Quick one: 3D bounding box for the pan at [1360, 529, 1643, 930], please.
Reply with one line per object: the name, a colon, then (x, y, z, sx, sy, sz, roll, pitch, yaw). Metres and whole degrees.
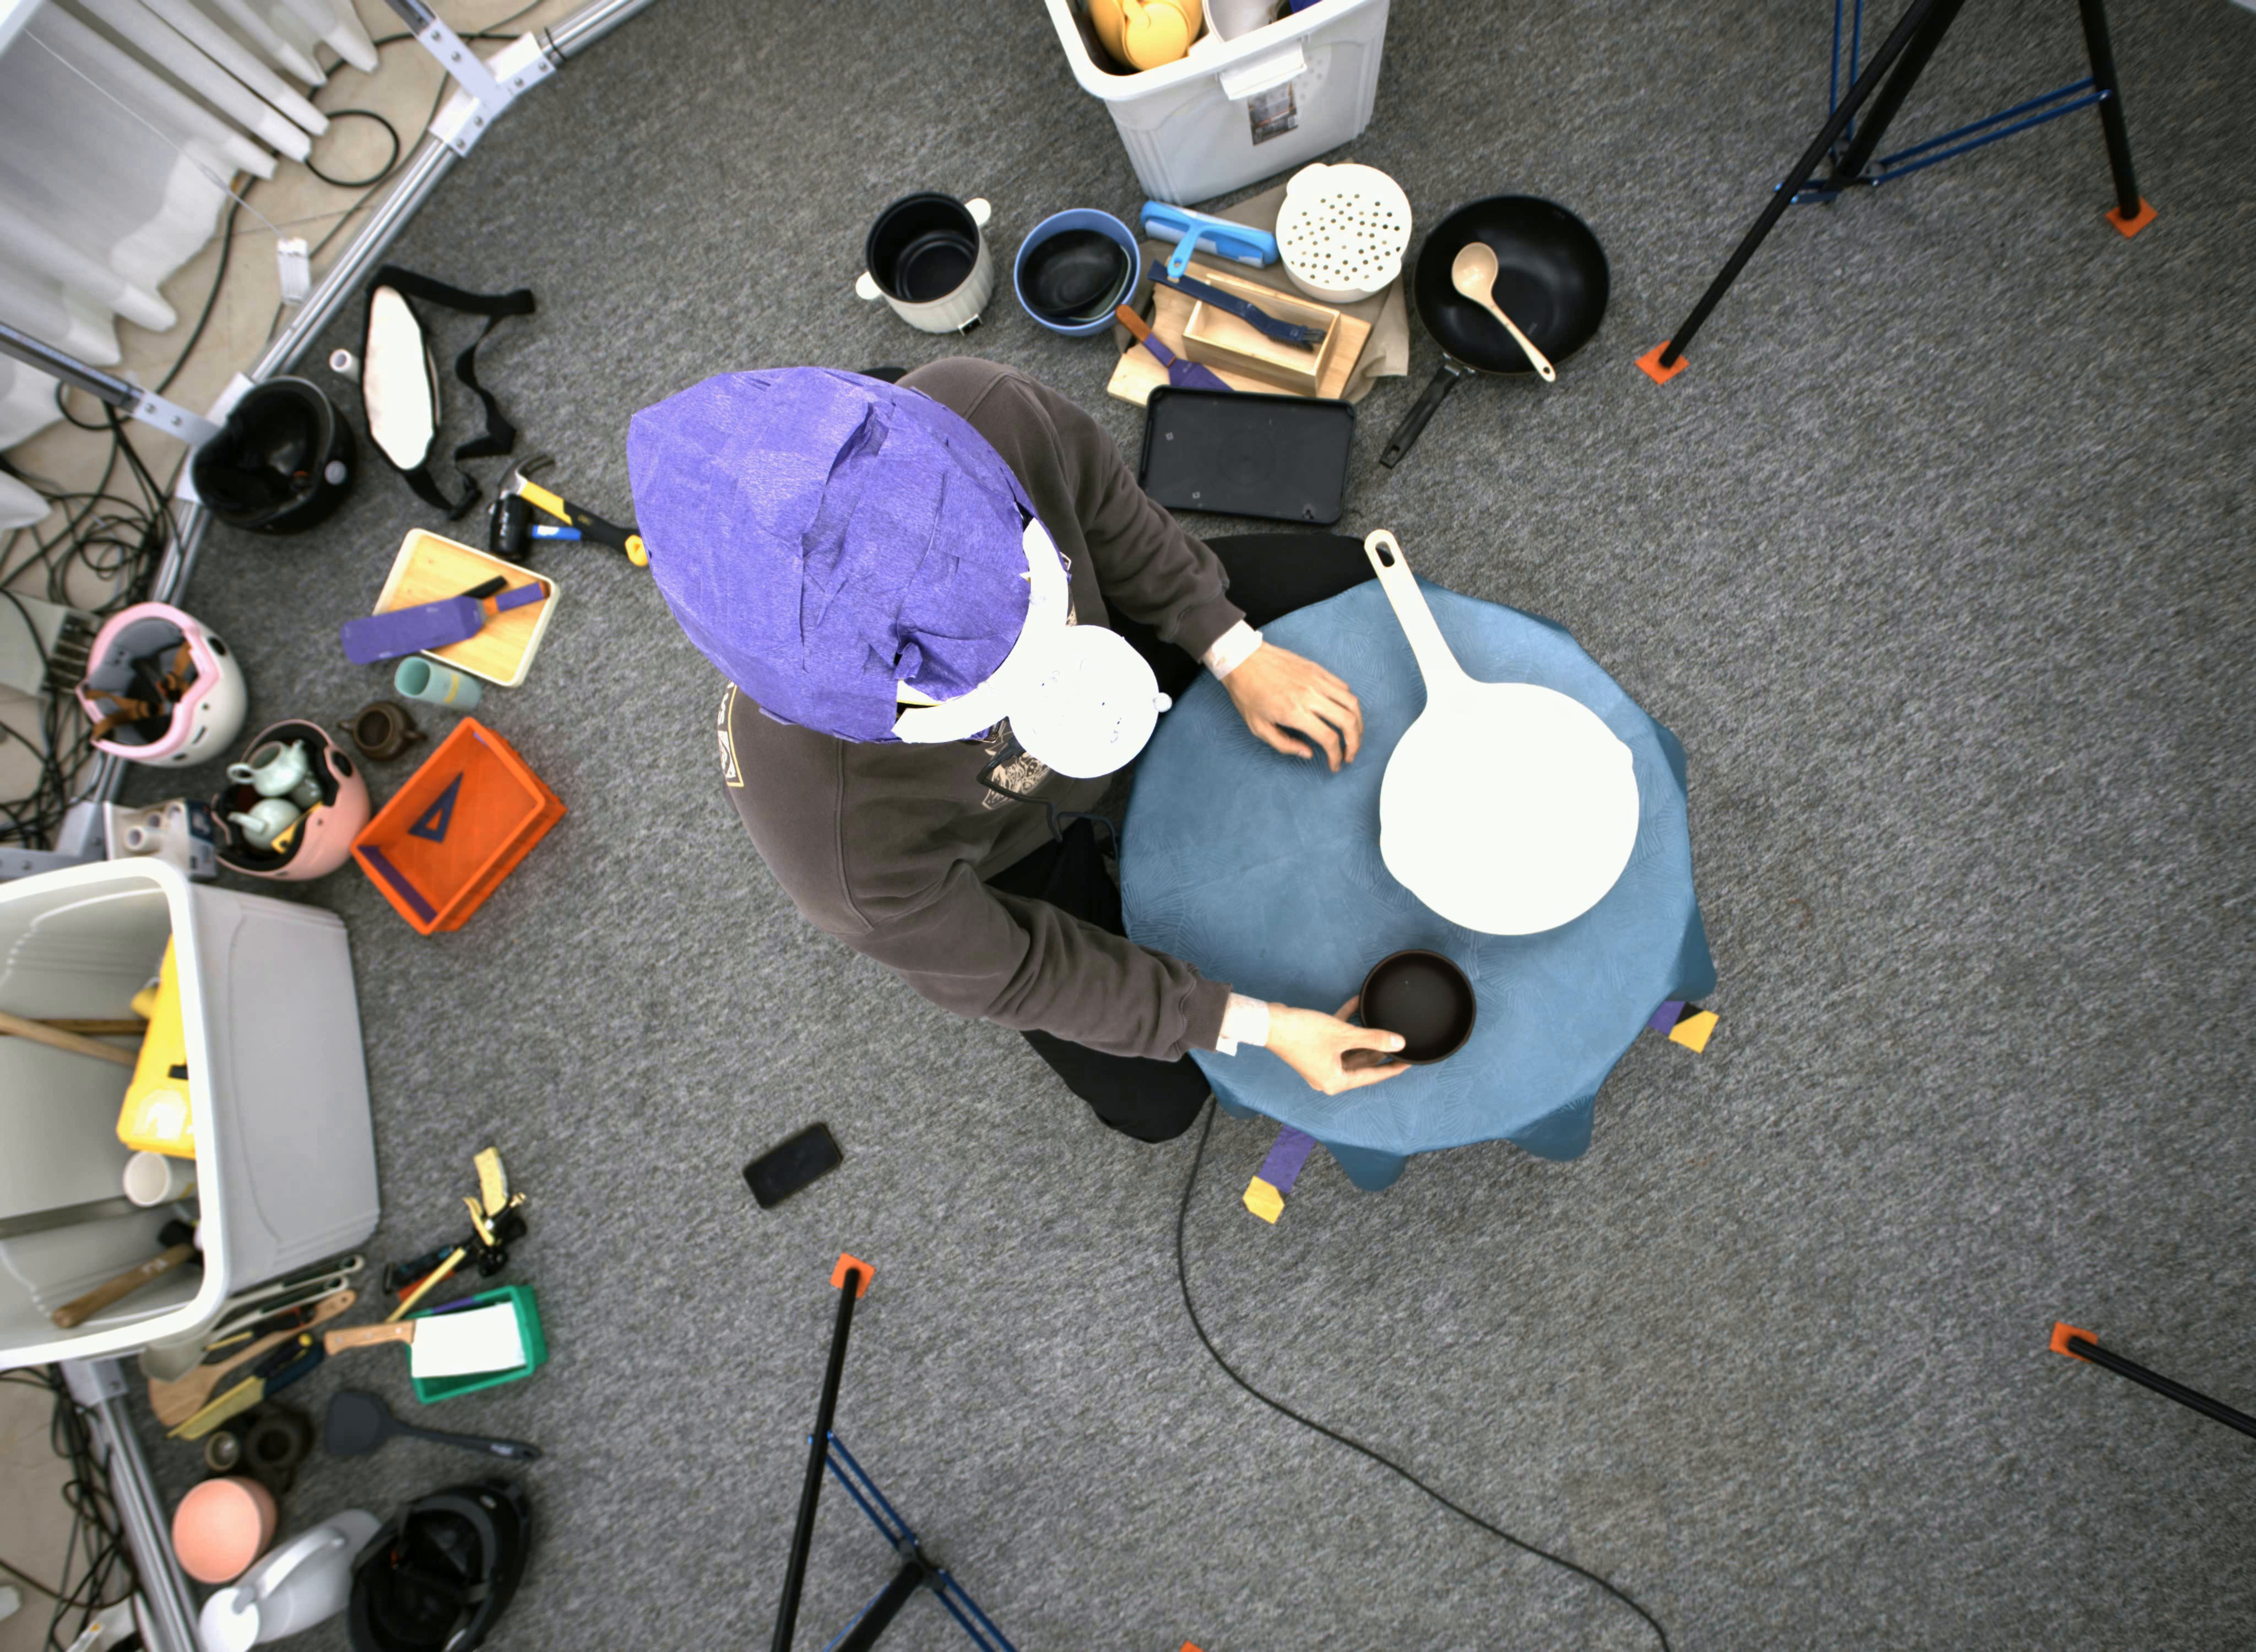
pan: (0.348, -0.104, 1.402, 0.265, 0.102, 0.432, -26, 83, 10)

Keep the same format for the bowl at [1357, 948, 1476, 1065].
bowl: (0.294, 0.182, 1.411, 0.118, 0.070, 0.117, -1, 87, 11)
